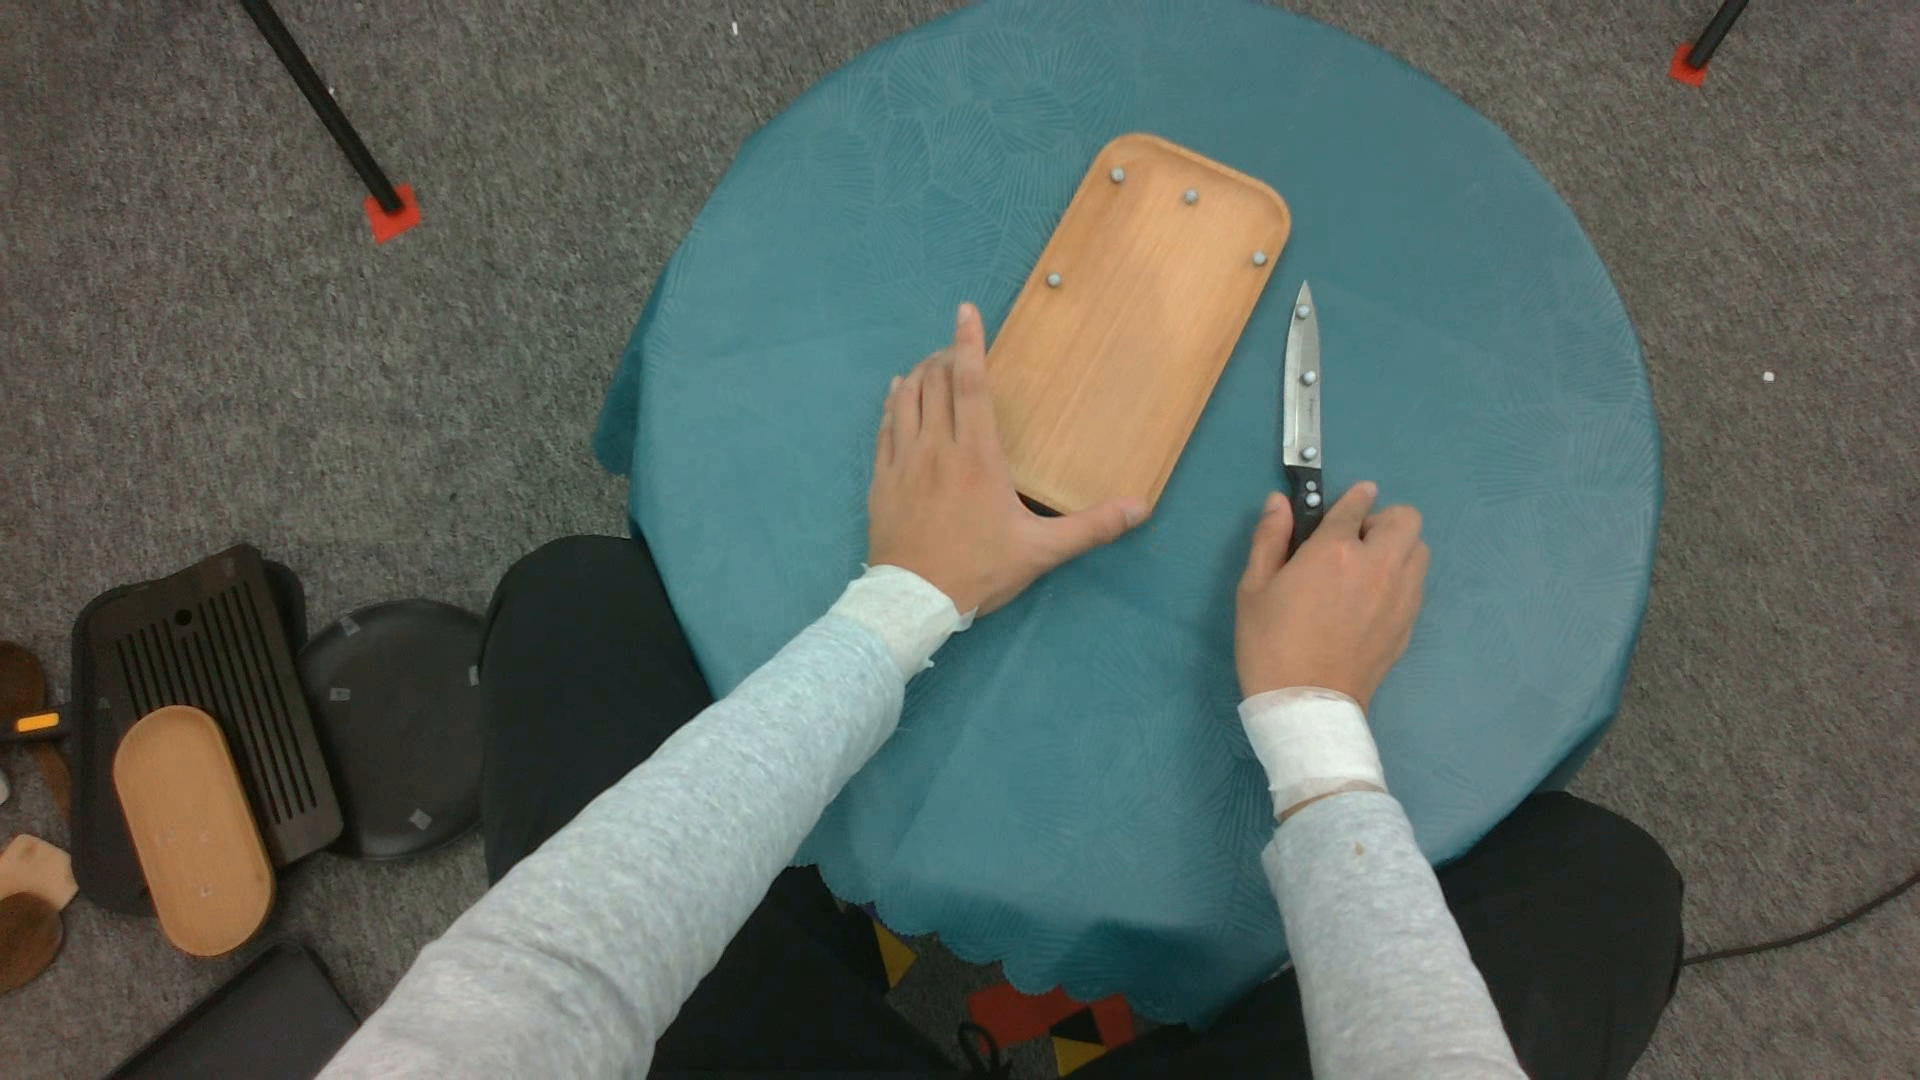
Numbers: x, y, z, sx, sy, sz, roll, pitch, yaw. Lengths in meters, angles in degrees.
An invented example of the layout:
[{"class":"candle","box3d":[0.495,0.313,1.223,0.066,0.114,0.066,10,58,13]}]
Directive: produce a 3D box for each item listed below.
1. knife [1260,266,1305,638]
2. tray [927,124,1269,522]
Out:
[{"class":"knife","box3d":[0.187,-0.057,0.797,0.024,0.016,0.239,6,68,-5]},{"class":"tray","box3d":[0.085,-0.133,0.817,0.130,0.023,0.251,26,73,9]}]
